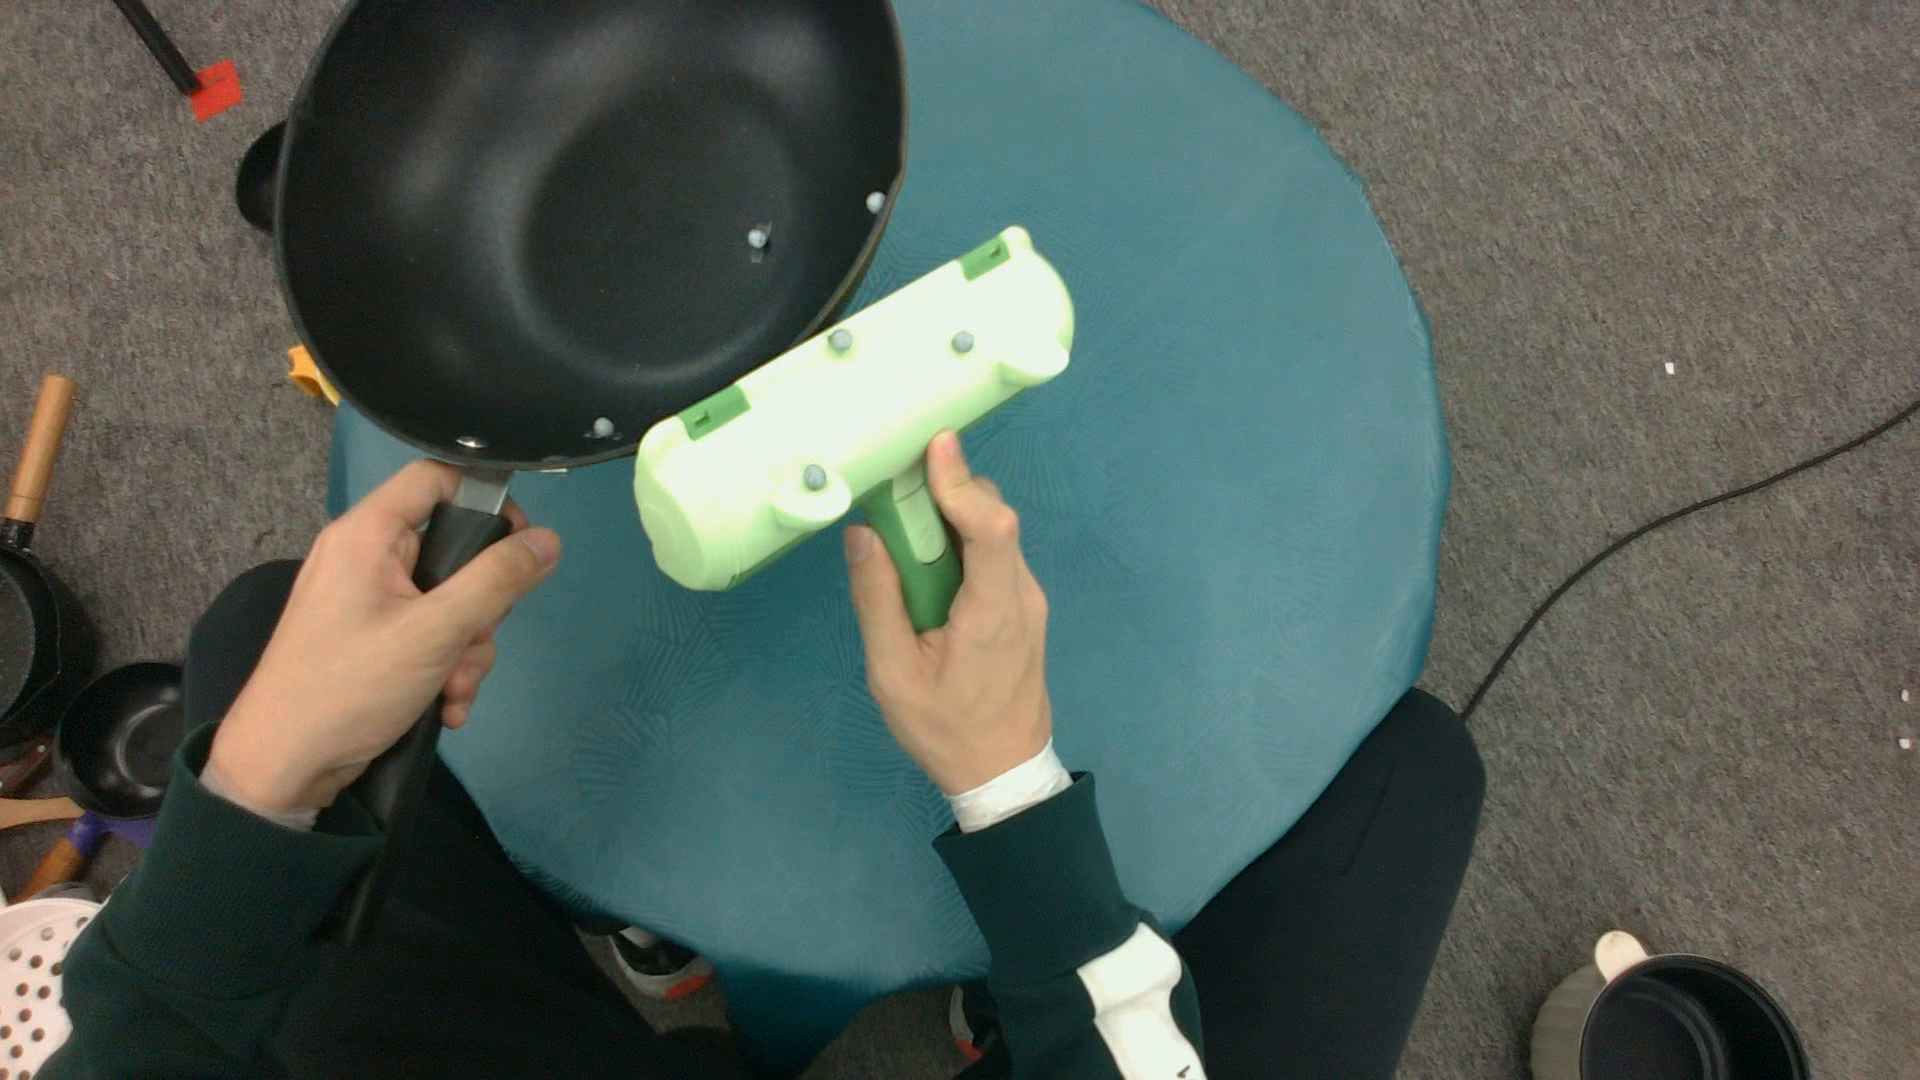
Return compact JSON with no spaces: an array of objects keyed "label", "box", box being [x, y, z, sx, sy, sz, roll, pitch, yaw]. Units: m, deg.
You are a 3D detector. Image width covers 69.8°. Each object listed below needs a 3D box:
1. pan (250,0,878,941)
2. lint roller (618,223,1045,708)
[{"label":"pan","box":[-0.177,-0.070,0.577,0.288,0.087,0.464,9,81,17]},{"label":"lint roller","box":[-0.018,-0.007,0.549,0.199,0.082,0.183,-38,113,-34]}]
